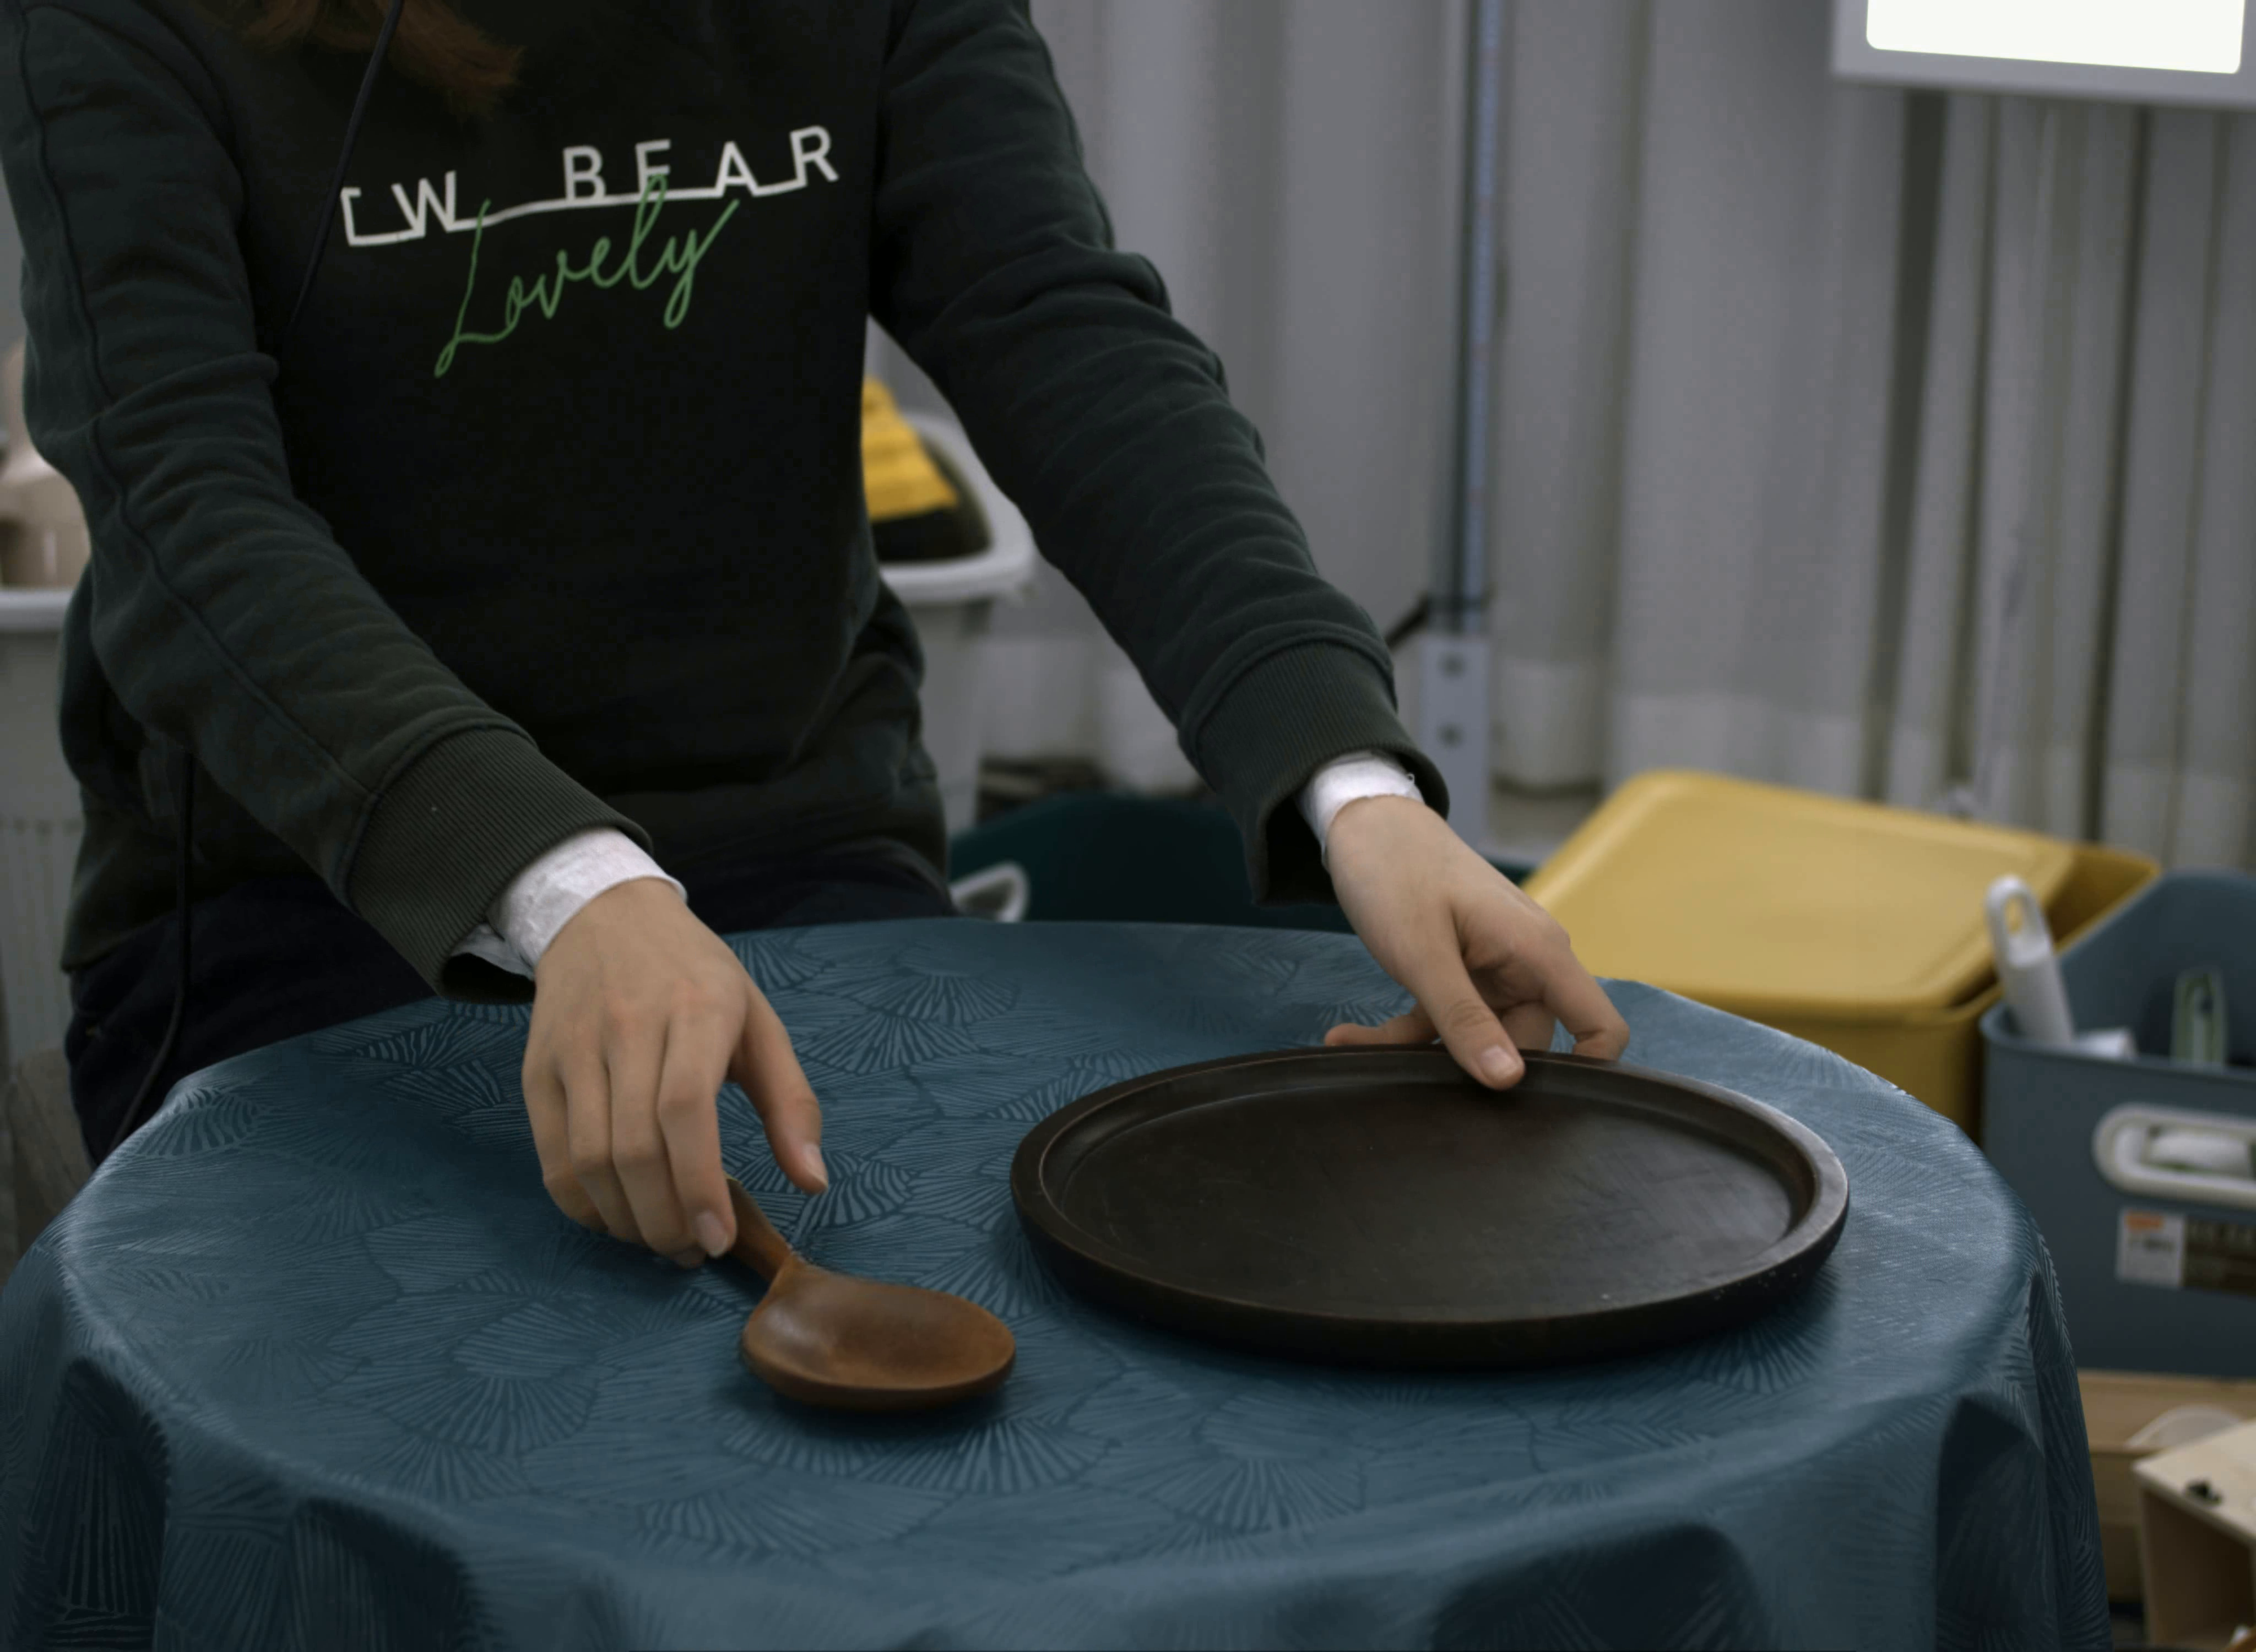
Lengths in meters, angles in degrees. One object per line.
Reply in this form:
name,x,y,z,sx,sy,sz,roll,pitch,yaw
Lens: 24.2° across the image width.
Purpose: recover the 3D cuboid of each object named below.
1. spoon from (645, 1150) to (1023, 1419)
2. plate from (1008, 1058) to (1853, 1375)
spoon,-0.094,0.133,1.520,0.076,0.017,0.213,-7,18,-24
plate,0.090,0.114,1.585,0.254,0.029,0.253,2,16,0
